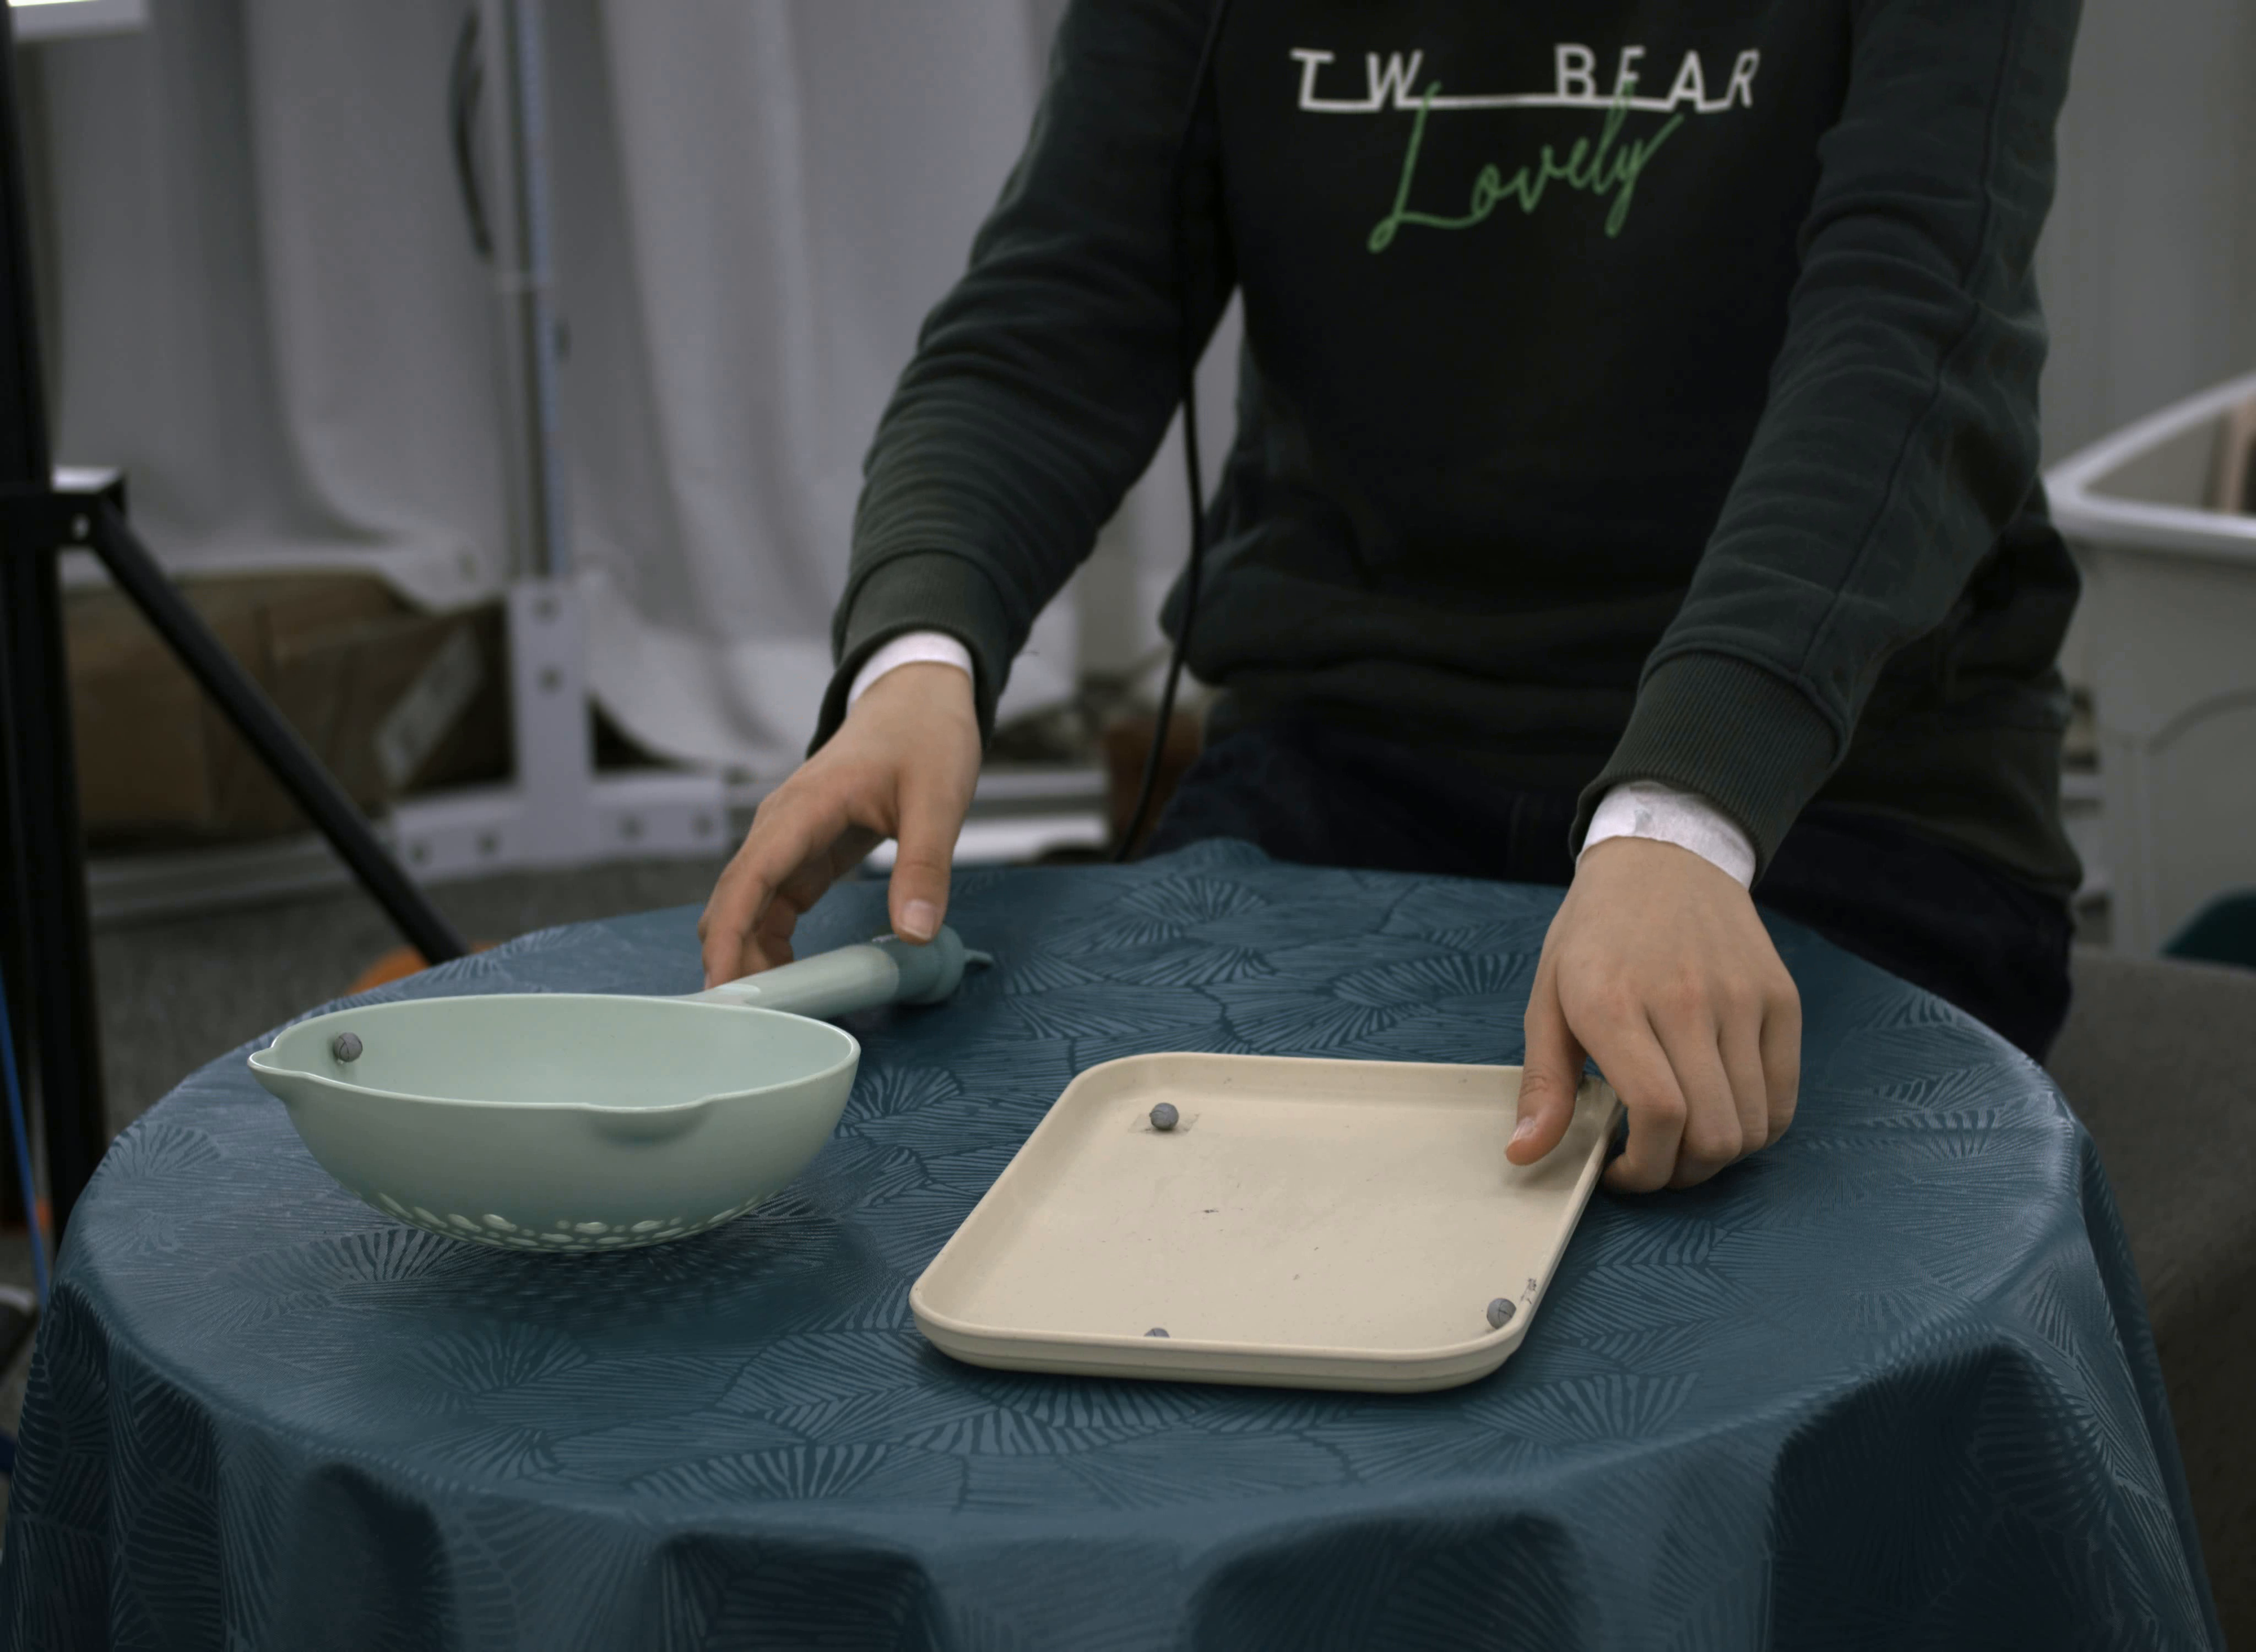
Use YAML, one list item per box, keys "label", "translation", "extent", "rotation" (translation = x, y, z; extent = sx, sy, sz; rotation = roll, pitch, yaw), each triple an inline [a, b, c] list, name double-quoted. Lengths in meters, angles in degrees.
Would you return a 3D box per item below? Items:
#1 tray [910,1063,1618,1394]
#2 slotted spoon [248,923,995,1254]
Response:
- label: "tray"
  translation: [0.044, 0.113, 1.505]
  extent: [0.172, 0.017, 0.238]
  rotation: [2, 15, 14]
- label: "slotted spoon"
  translation: [-0.122, 0.064, 1.619]
  extent: [0.172, 0.075, 0.353]
  rotation: [5, 17, 23]
